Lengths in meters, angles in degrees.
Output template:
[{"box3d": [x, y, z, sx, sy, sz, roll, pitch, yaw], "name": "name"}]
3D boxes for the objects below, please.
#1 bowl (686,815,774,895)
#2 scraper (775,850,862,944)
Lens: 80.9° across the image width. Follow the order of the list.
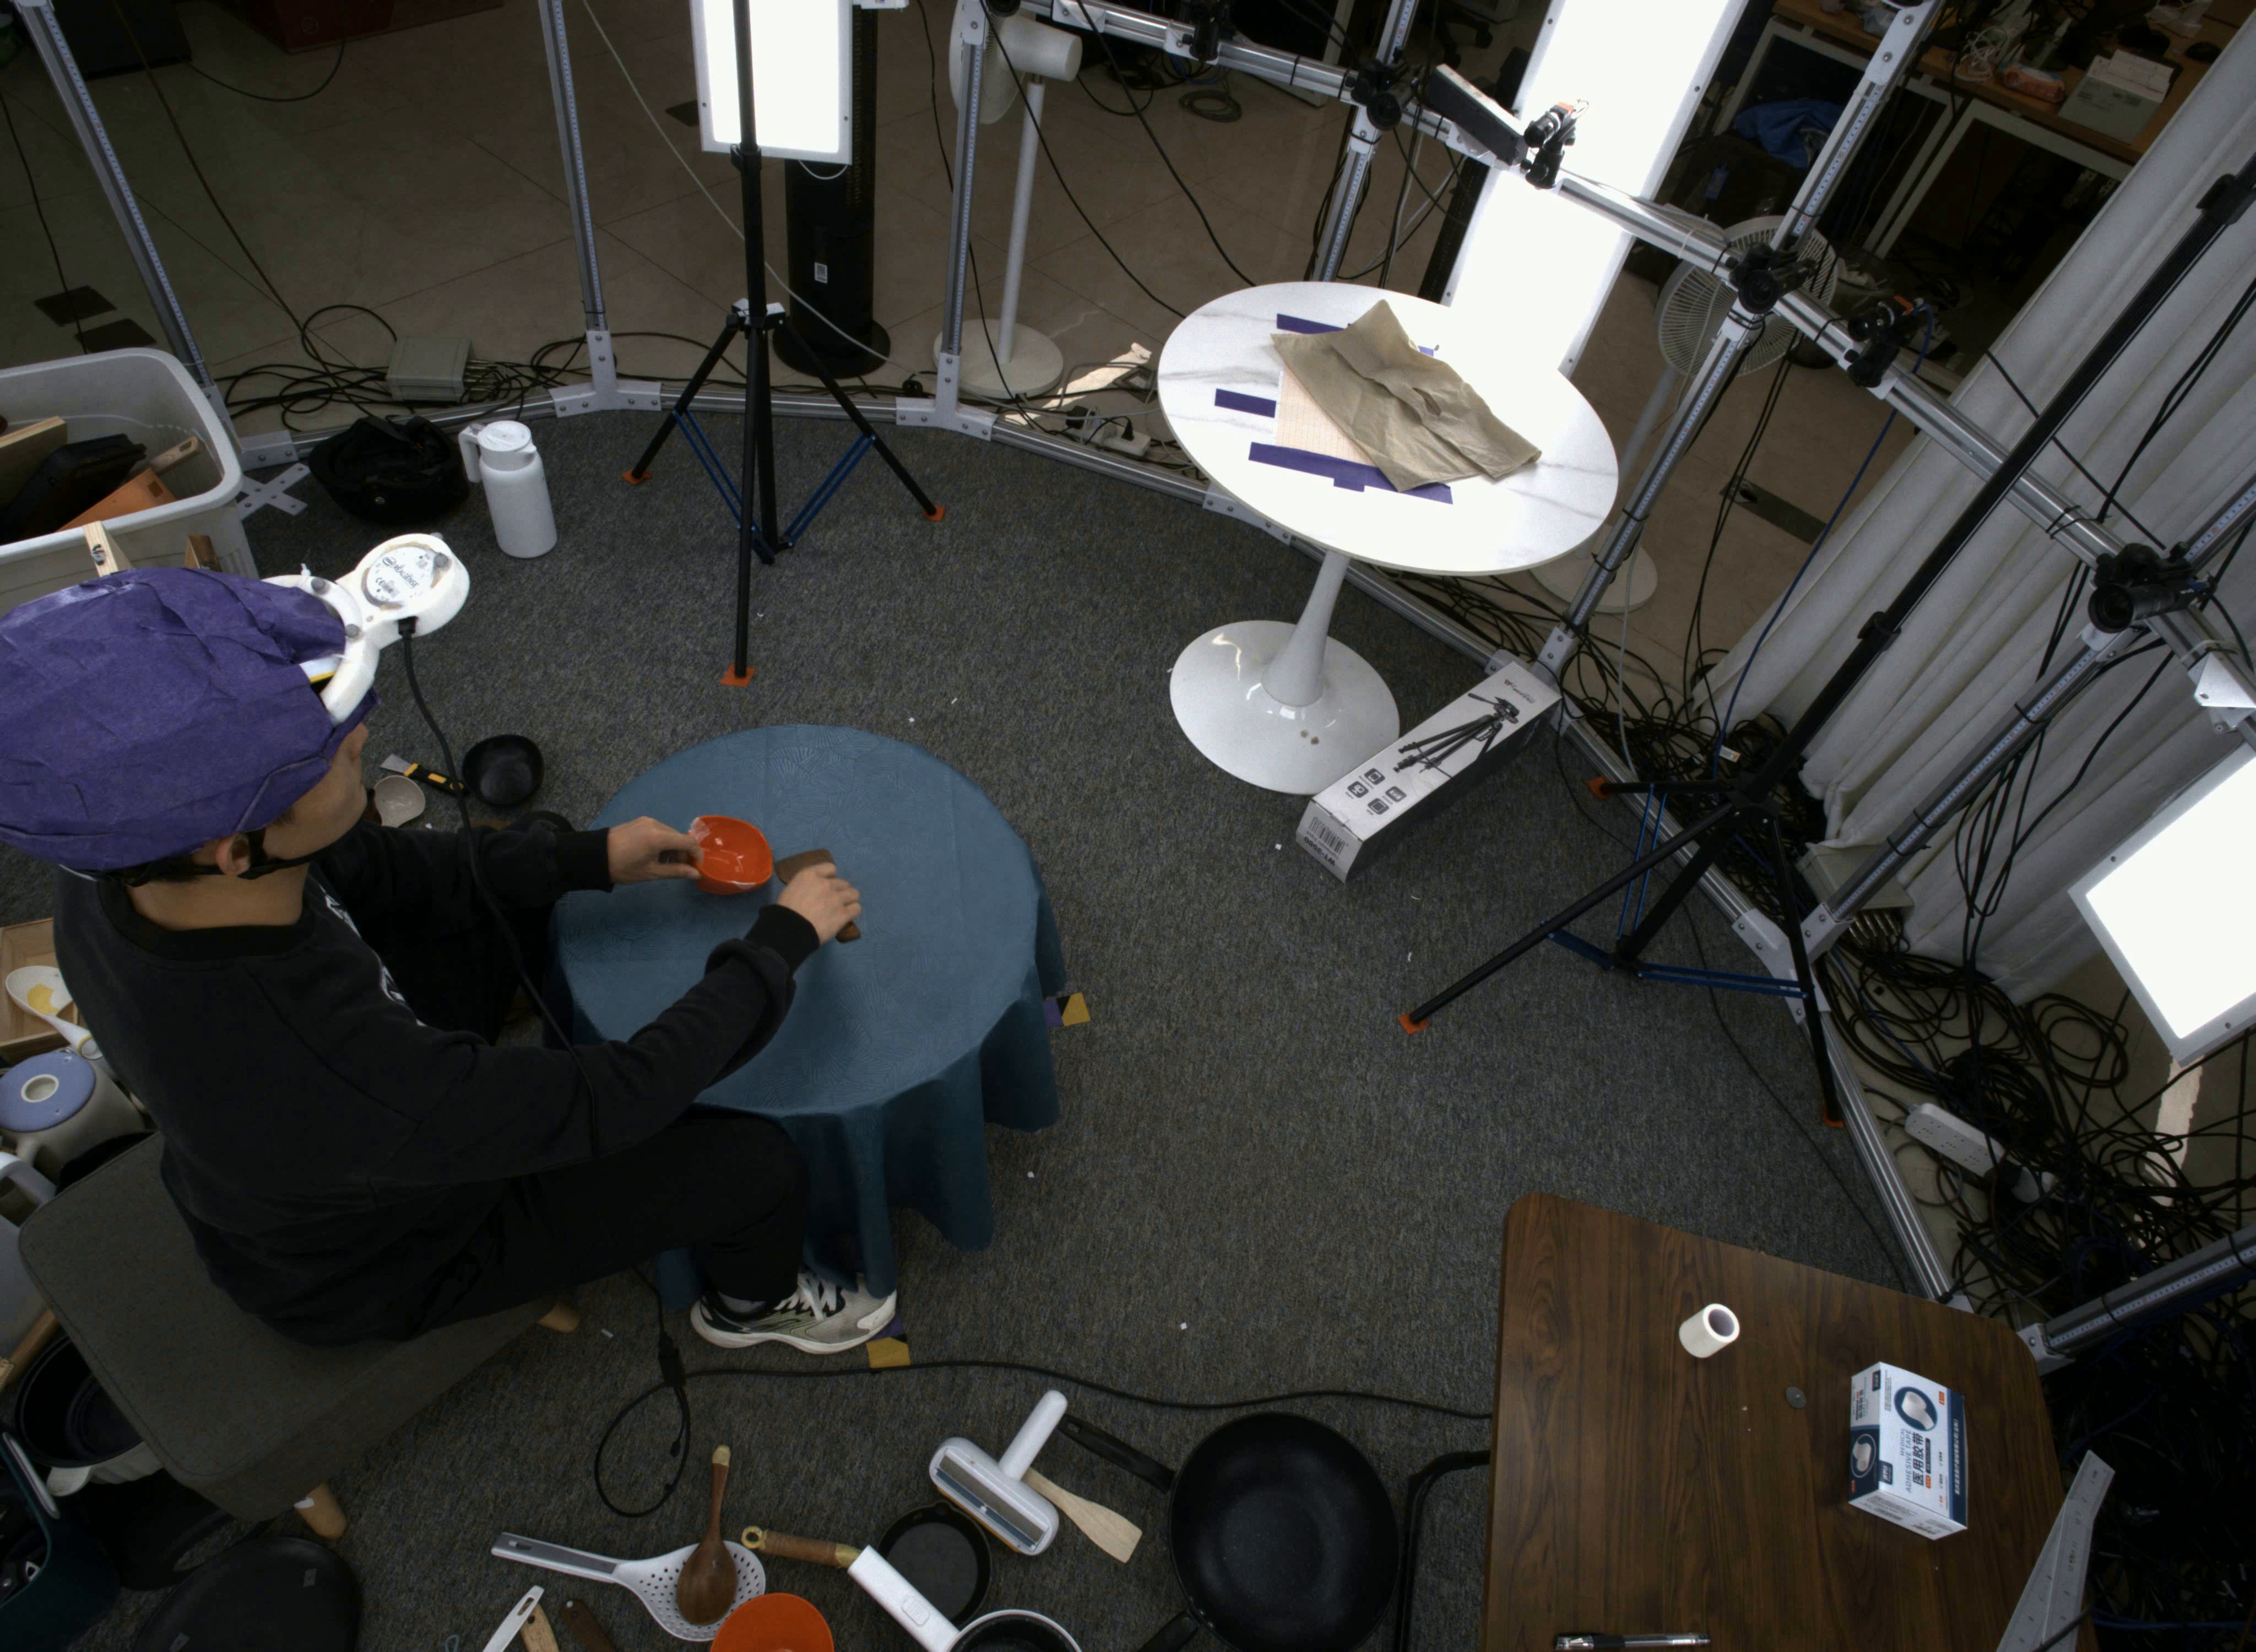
[{"box3d": [-0.509, 0.043, 1.627, 0.121, 0.051, 0.116, 29, 33, -20], "name": "bowl"}, {"box3d": [-0.364, 0.085, 1.561, 0.076, 0.011, 0.203, -17, 34, -23], "name": "scraper"}]
